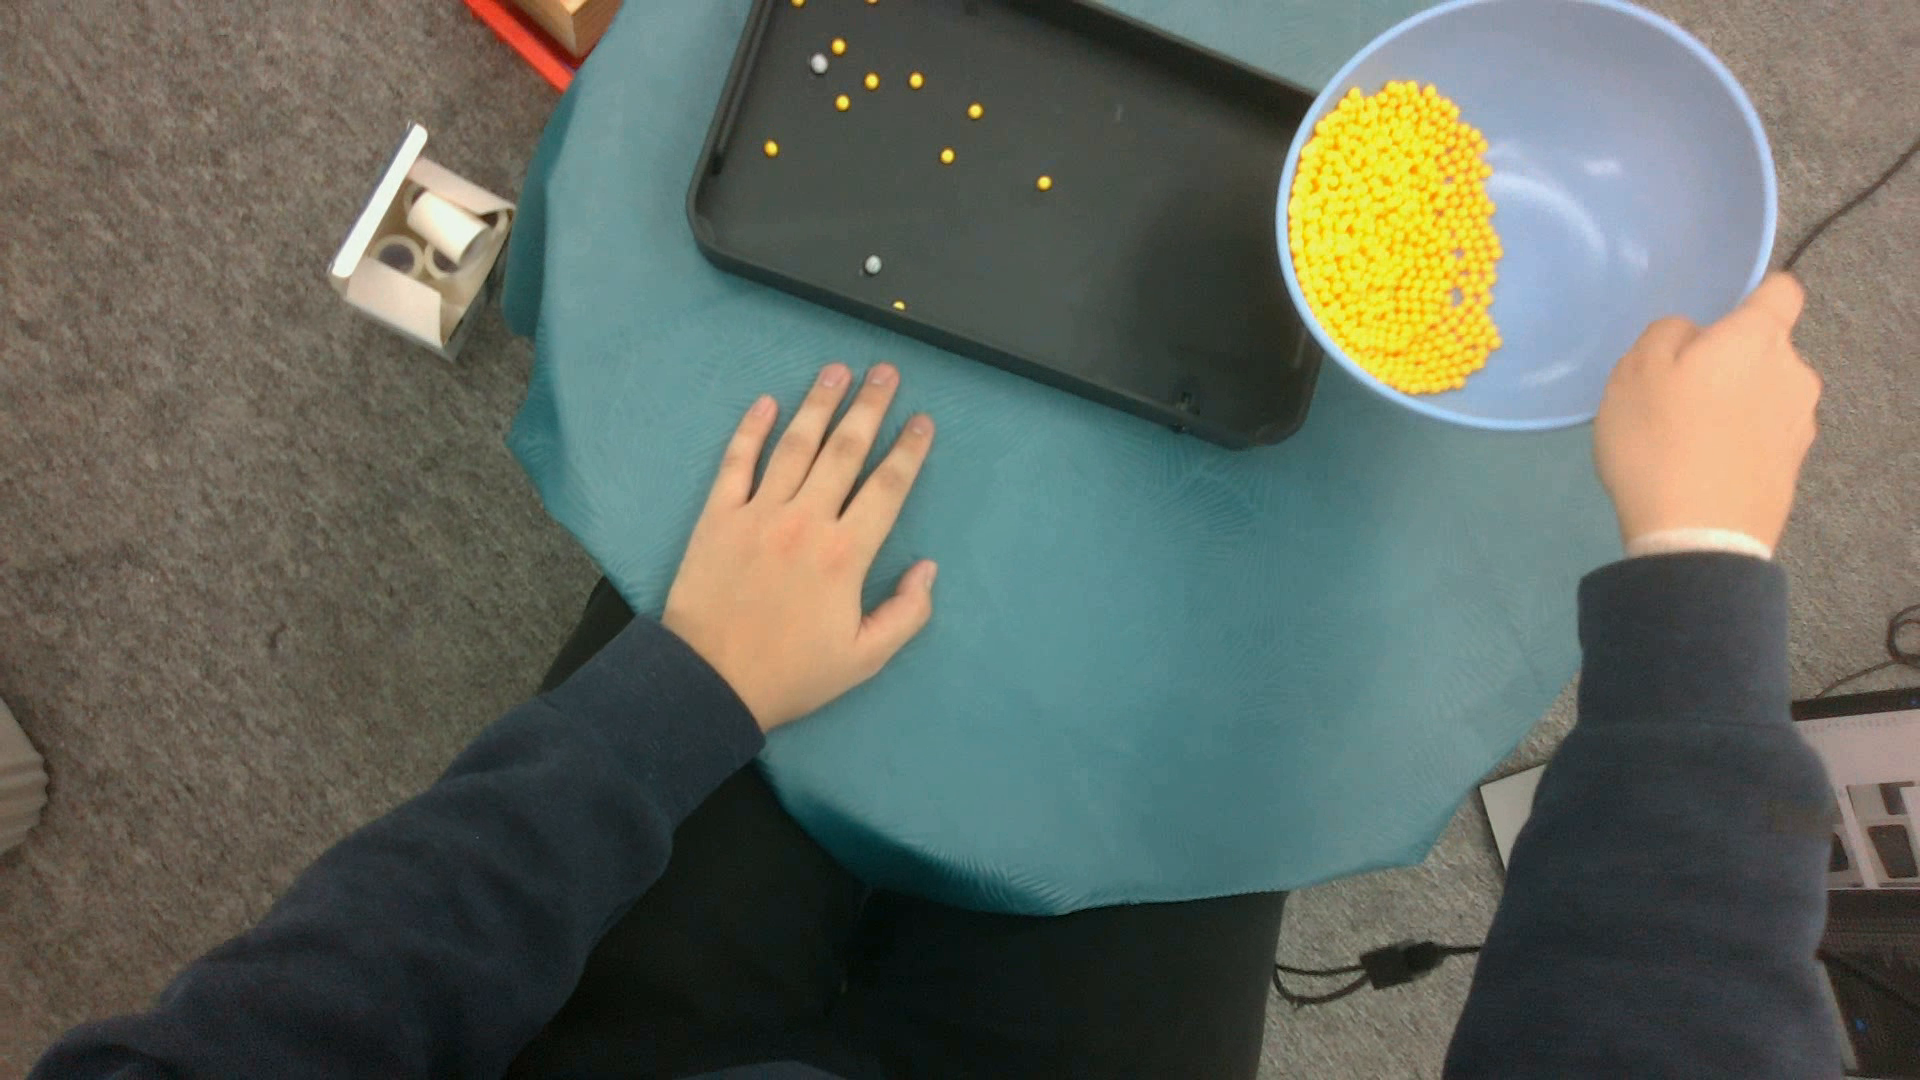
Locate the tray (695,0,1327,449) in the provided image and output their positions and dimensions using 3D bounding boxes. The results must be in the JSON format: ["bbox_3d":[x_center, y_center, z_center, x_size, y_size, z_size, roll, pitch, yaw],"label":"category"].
[{"bbox_3d":[0.042,-0.173,0.697,0.318,0.037,0.184,17,81,-8],"label":"tray"}]

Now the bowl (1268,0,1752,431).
[{"bbox_3d":[0.245,-0.135,0.638,0.196,0.095,0.197,-3,78,14],"label":"bowl"}]
